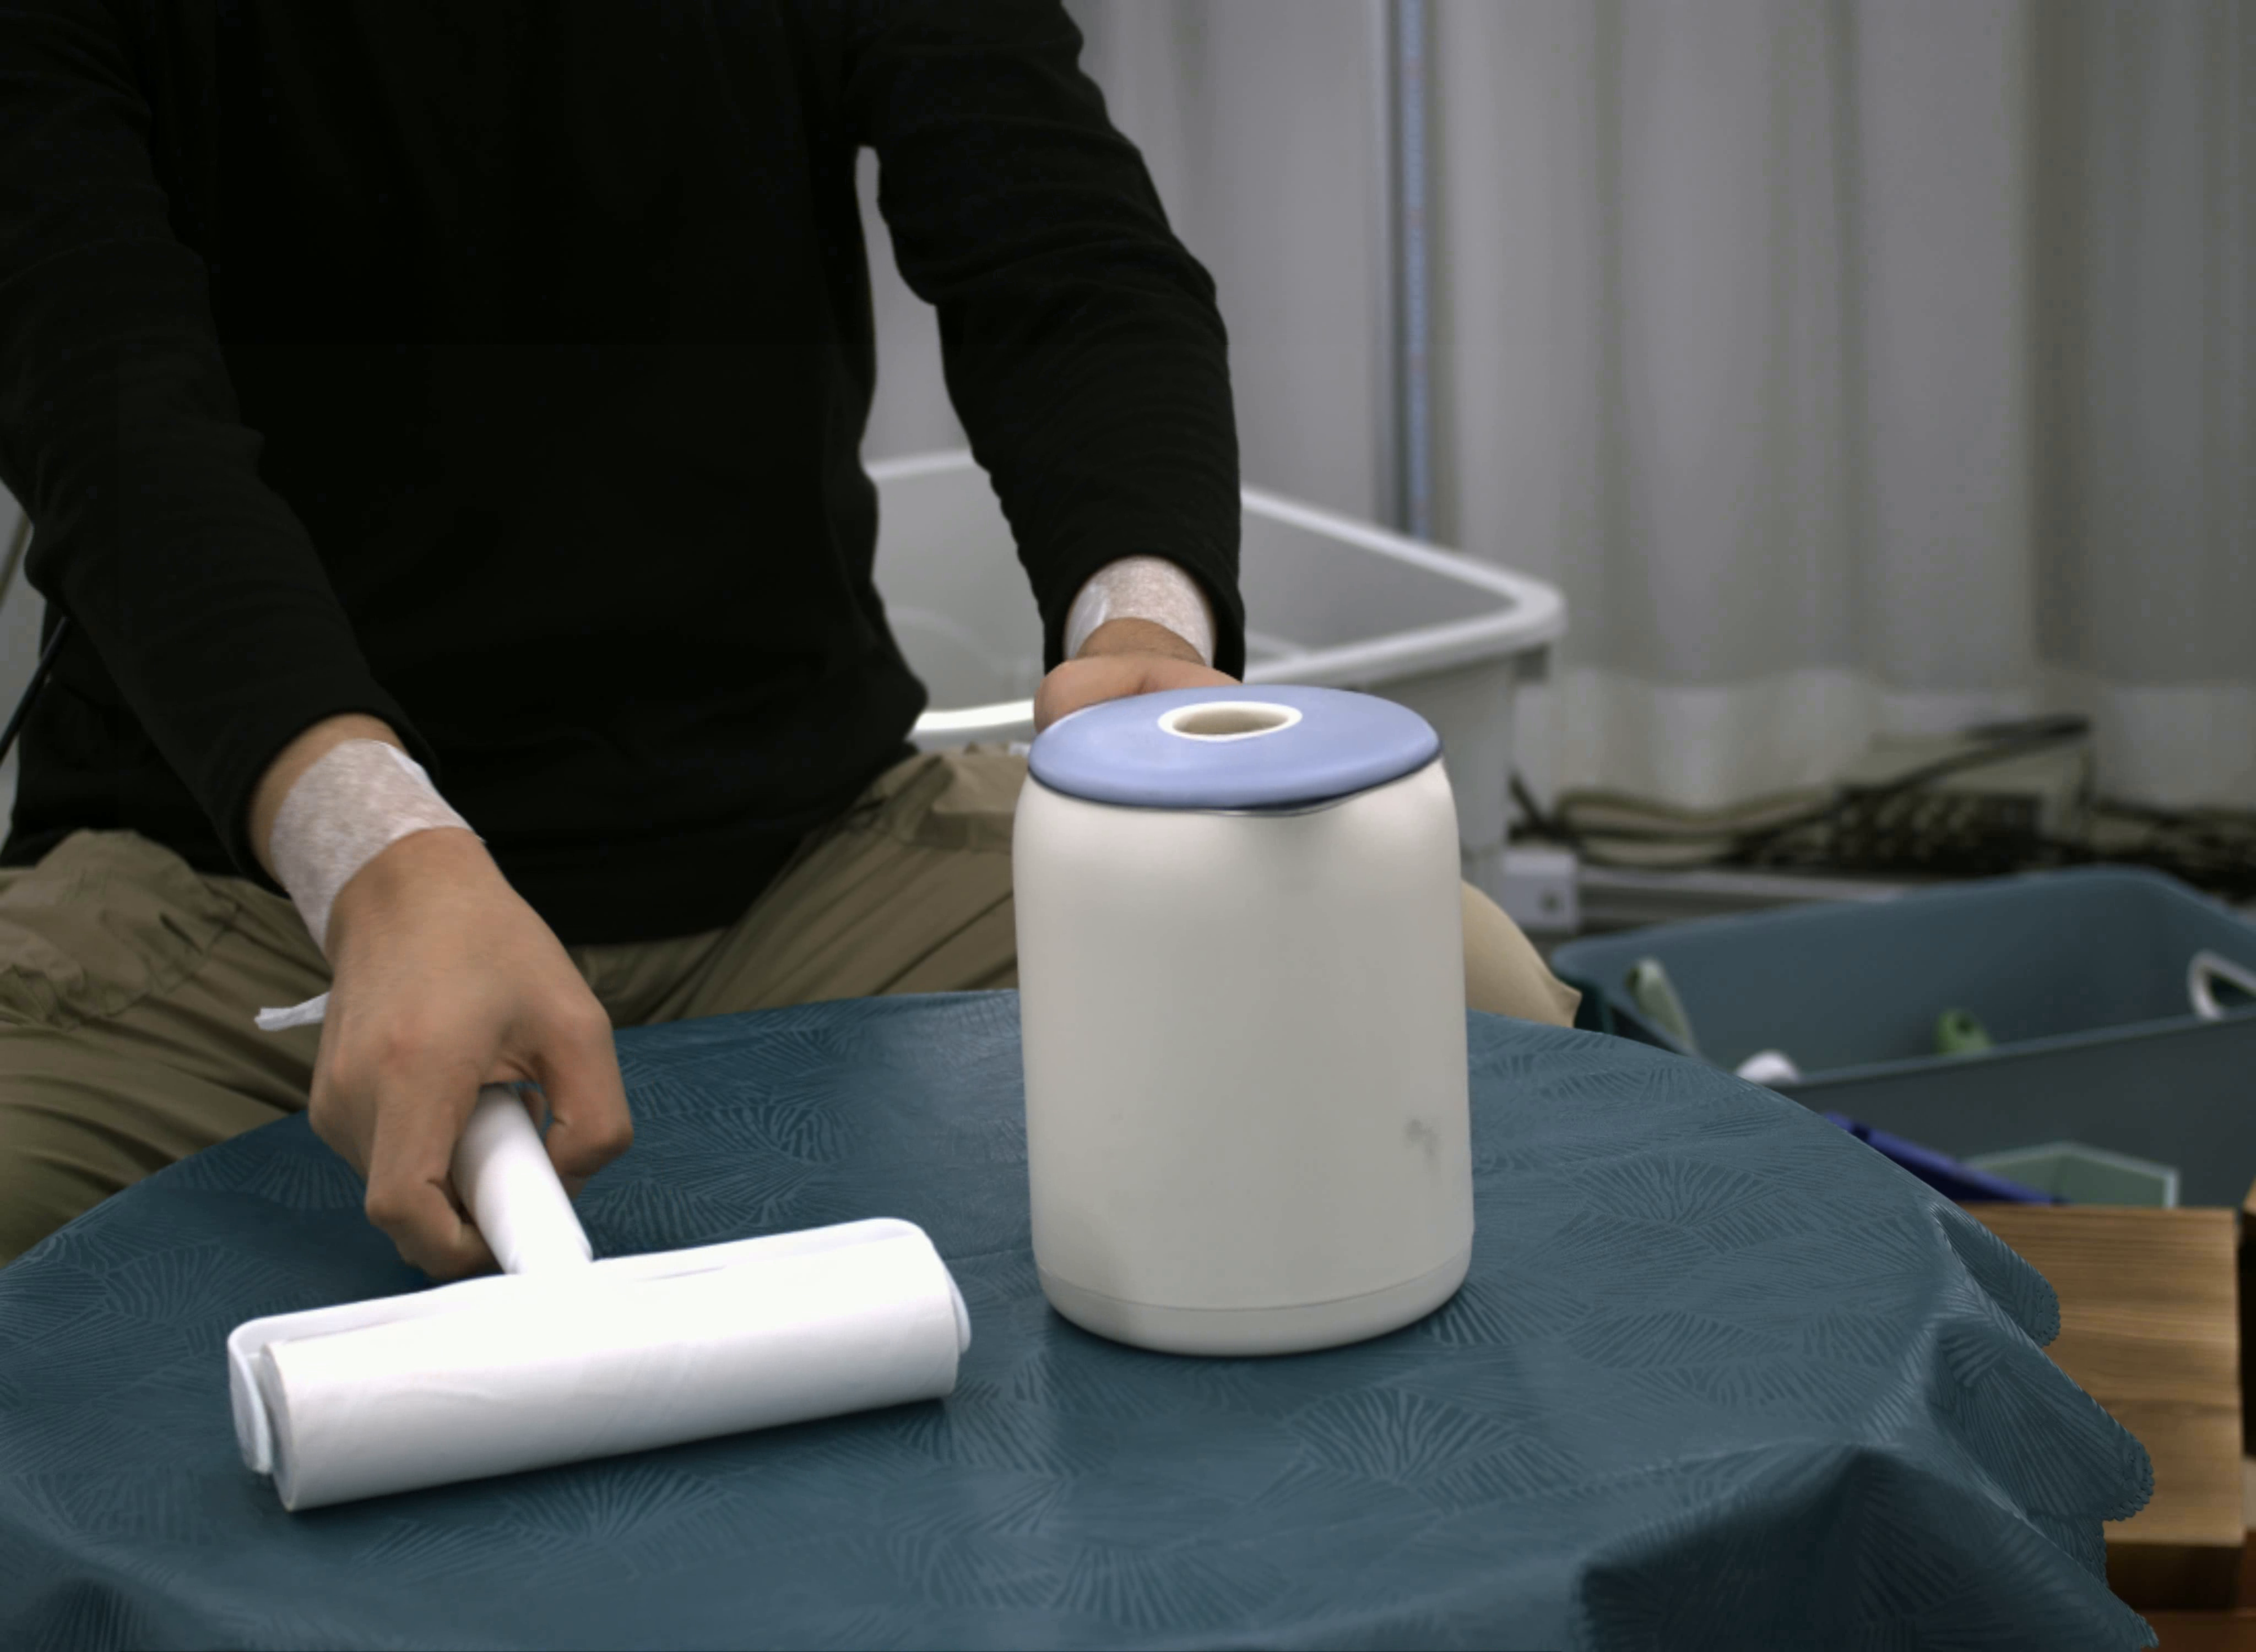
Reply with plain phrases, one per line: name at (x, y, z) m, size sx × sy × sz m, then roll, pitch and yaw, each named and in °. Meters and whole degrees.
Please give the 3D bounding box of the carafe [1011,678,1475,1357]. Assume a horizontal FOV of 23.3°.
carafe at (0.027, 0.049, 1.623) m, size 0.131 × 0.182 × 0.192 m, roll -6°, pitch 12°, yaw -15°

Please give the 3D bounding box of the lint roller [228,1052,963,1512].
lint roller at (-0.175, 0.114, 1.592) m, size 0.202 × 0.048 × 0.228 m, roll -9°, pitch 27°, yaw -18°
